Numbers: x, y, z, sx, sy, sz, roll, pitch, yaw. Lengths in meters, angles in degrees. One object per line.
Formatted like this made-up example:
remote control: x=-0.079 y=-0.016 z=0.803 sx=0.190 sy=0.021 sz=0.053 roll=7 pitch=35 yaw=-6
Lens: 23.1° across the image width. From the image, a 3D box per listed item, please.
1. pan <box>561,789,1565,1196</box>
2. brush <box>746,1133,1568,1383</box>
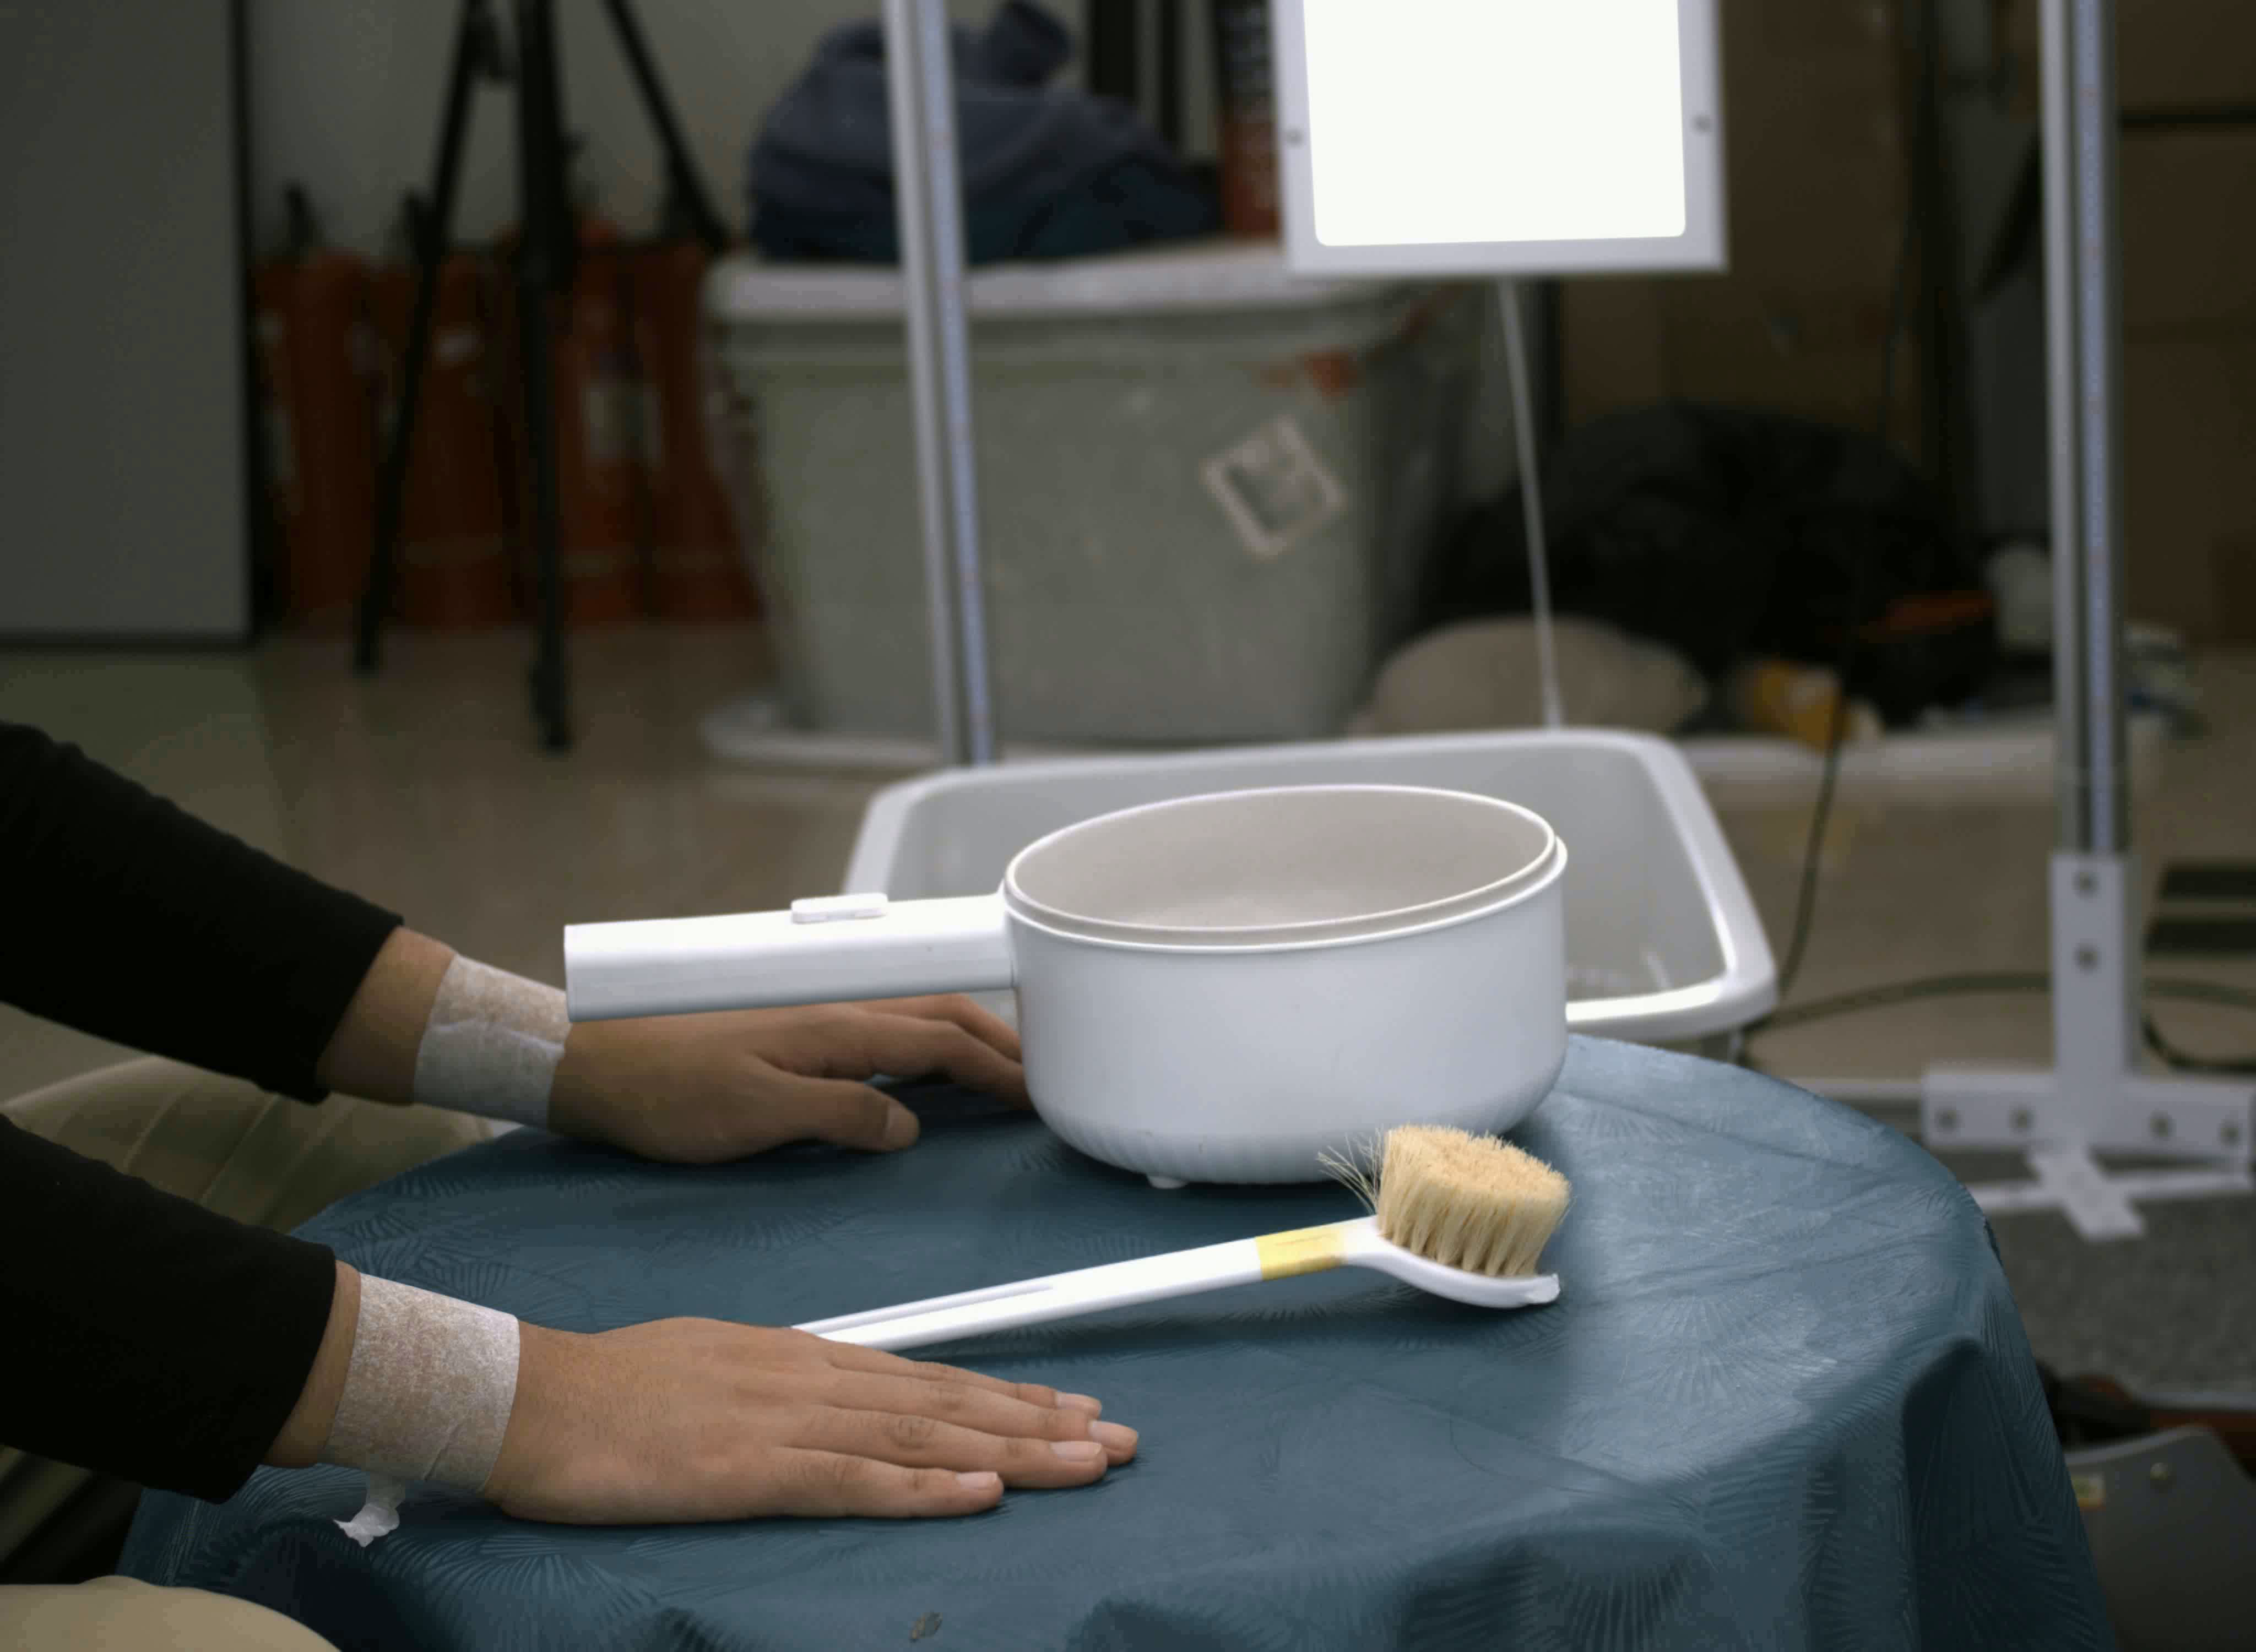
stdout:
pan: x=-0.020 y=0.068 z=1.941 sx=0.353 sy=0.102 sz=0.201 roll=-6 pitch=15 yaw=-2
brush: x=0.009 y=0.136 z=1.744 sx=0.266 sy=0.056 sz=0.068 roll=-6 pitch=10 yaw=1
